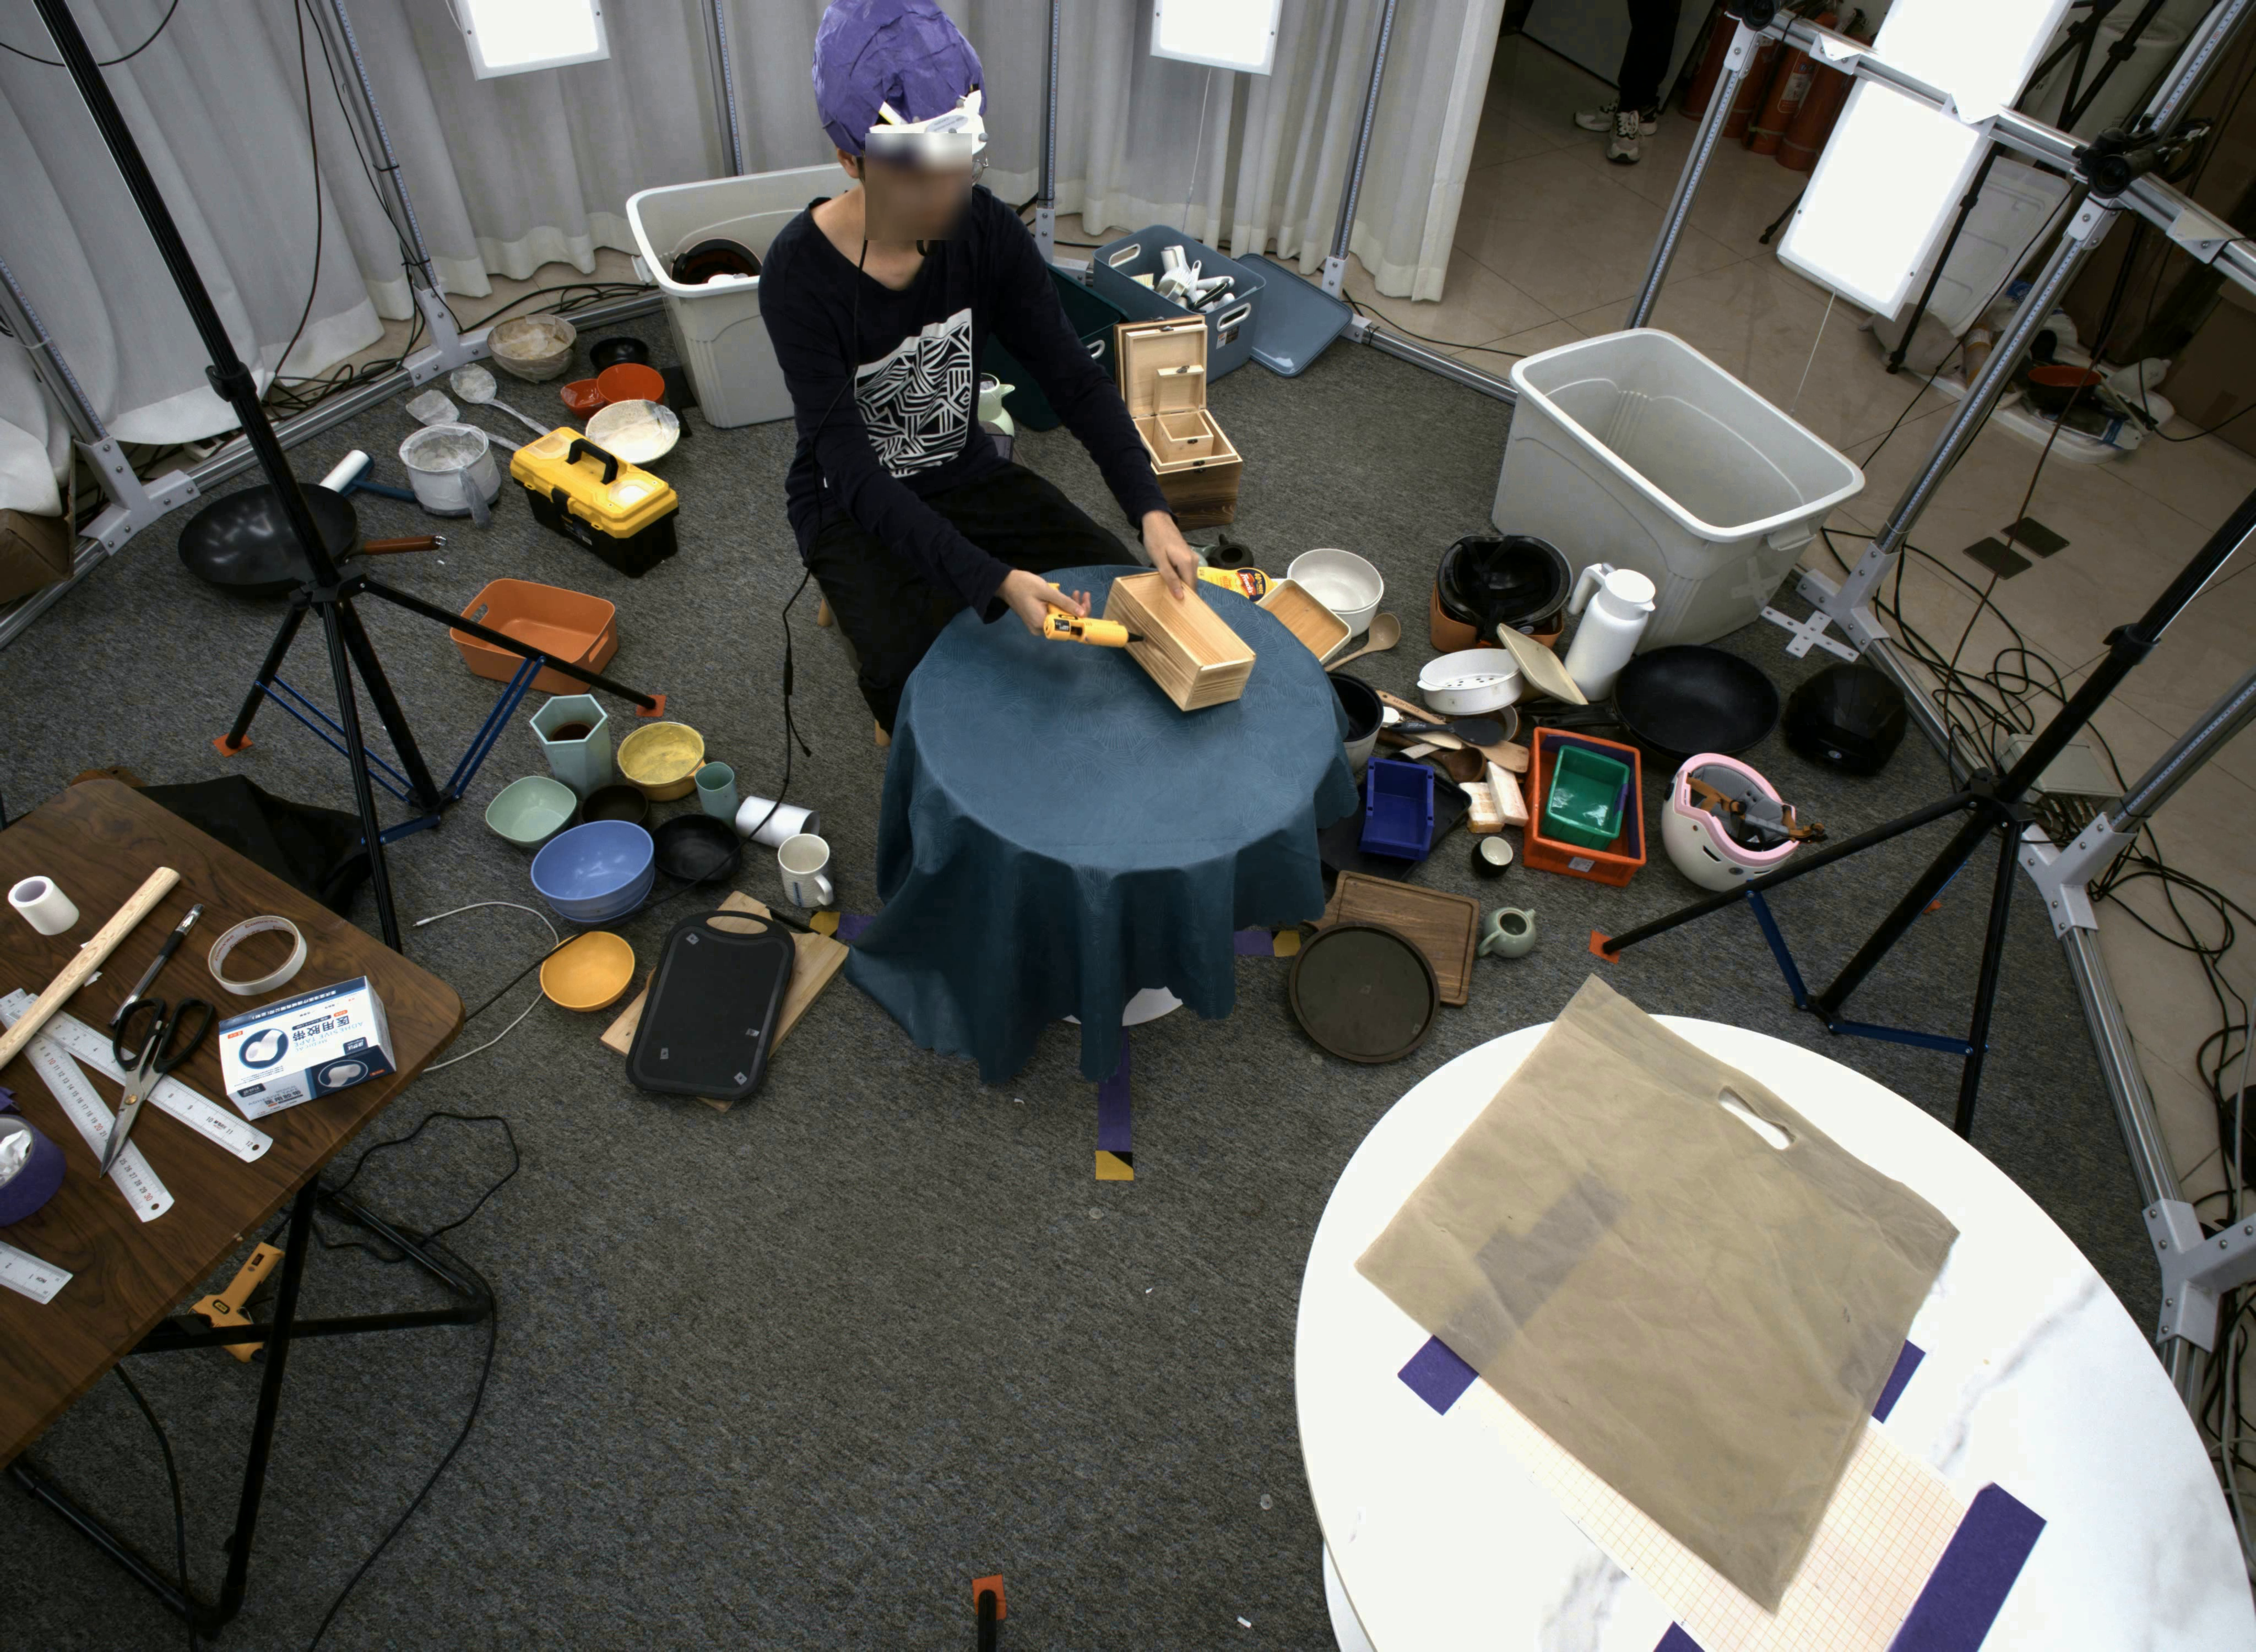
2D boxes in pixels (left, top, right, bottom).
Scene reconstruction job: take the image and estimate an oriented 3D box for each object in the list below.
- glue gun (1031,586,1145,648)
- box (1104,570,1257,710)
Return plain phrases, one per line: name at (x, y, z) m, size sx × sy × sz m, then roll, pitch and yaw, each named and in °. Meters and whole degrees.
glue gun at (-0.055, -0.292, 1.809) m, size 0.150 × 0.030 × 0.136 m, roll 7°, pitch 32°, yaw -21°
box at (0.071, -0.269, 1.832) m, size 0.107 × 0.078 × 0.215 m, roll -14°, pitch 50°, yaw -34°
